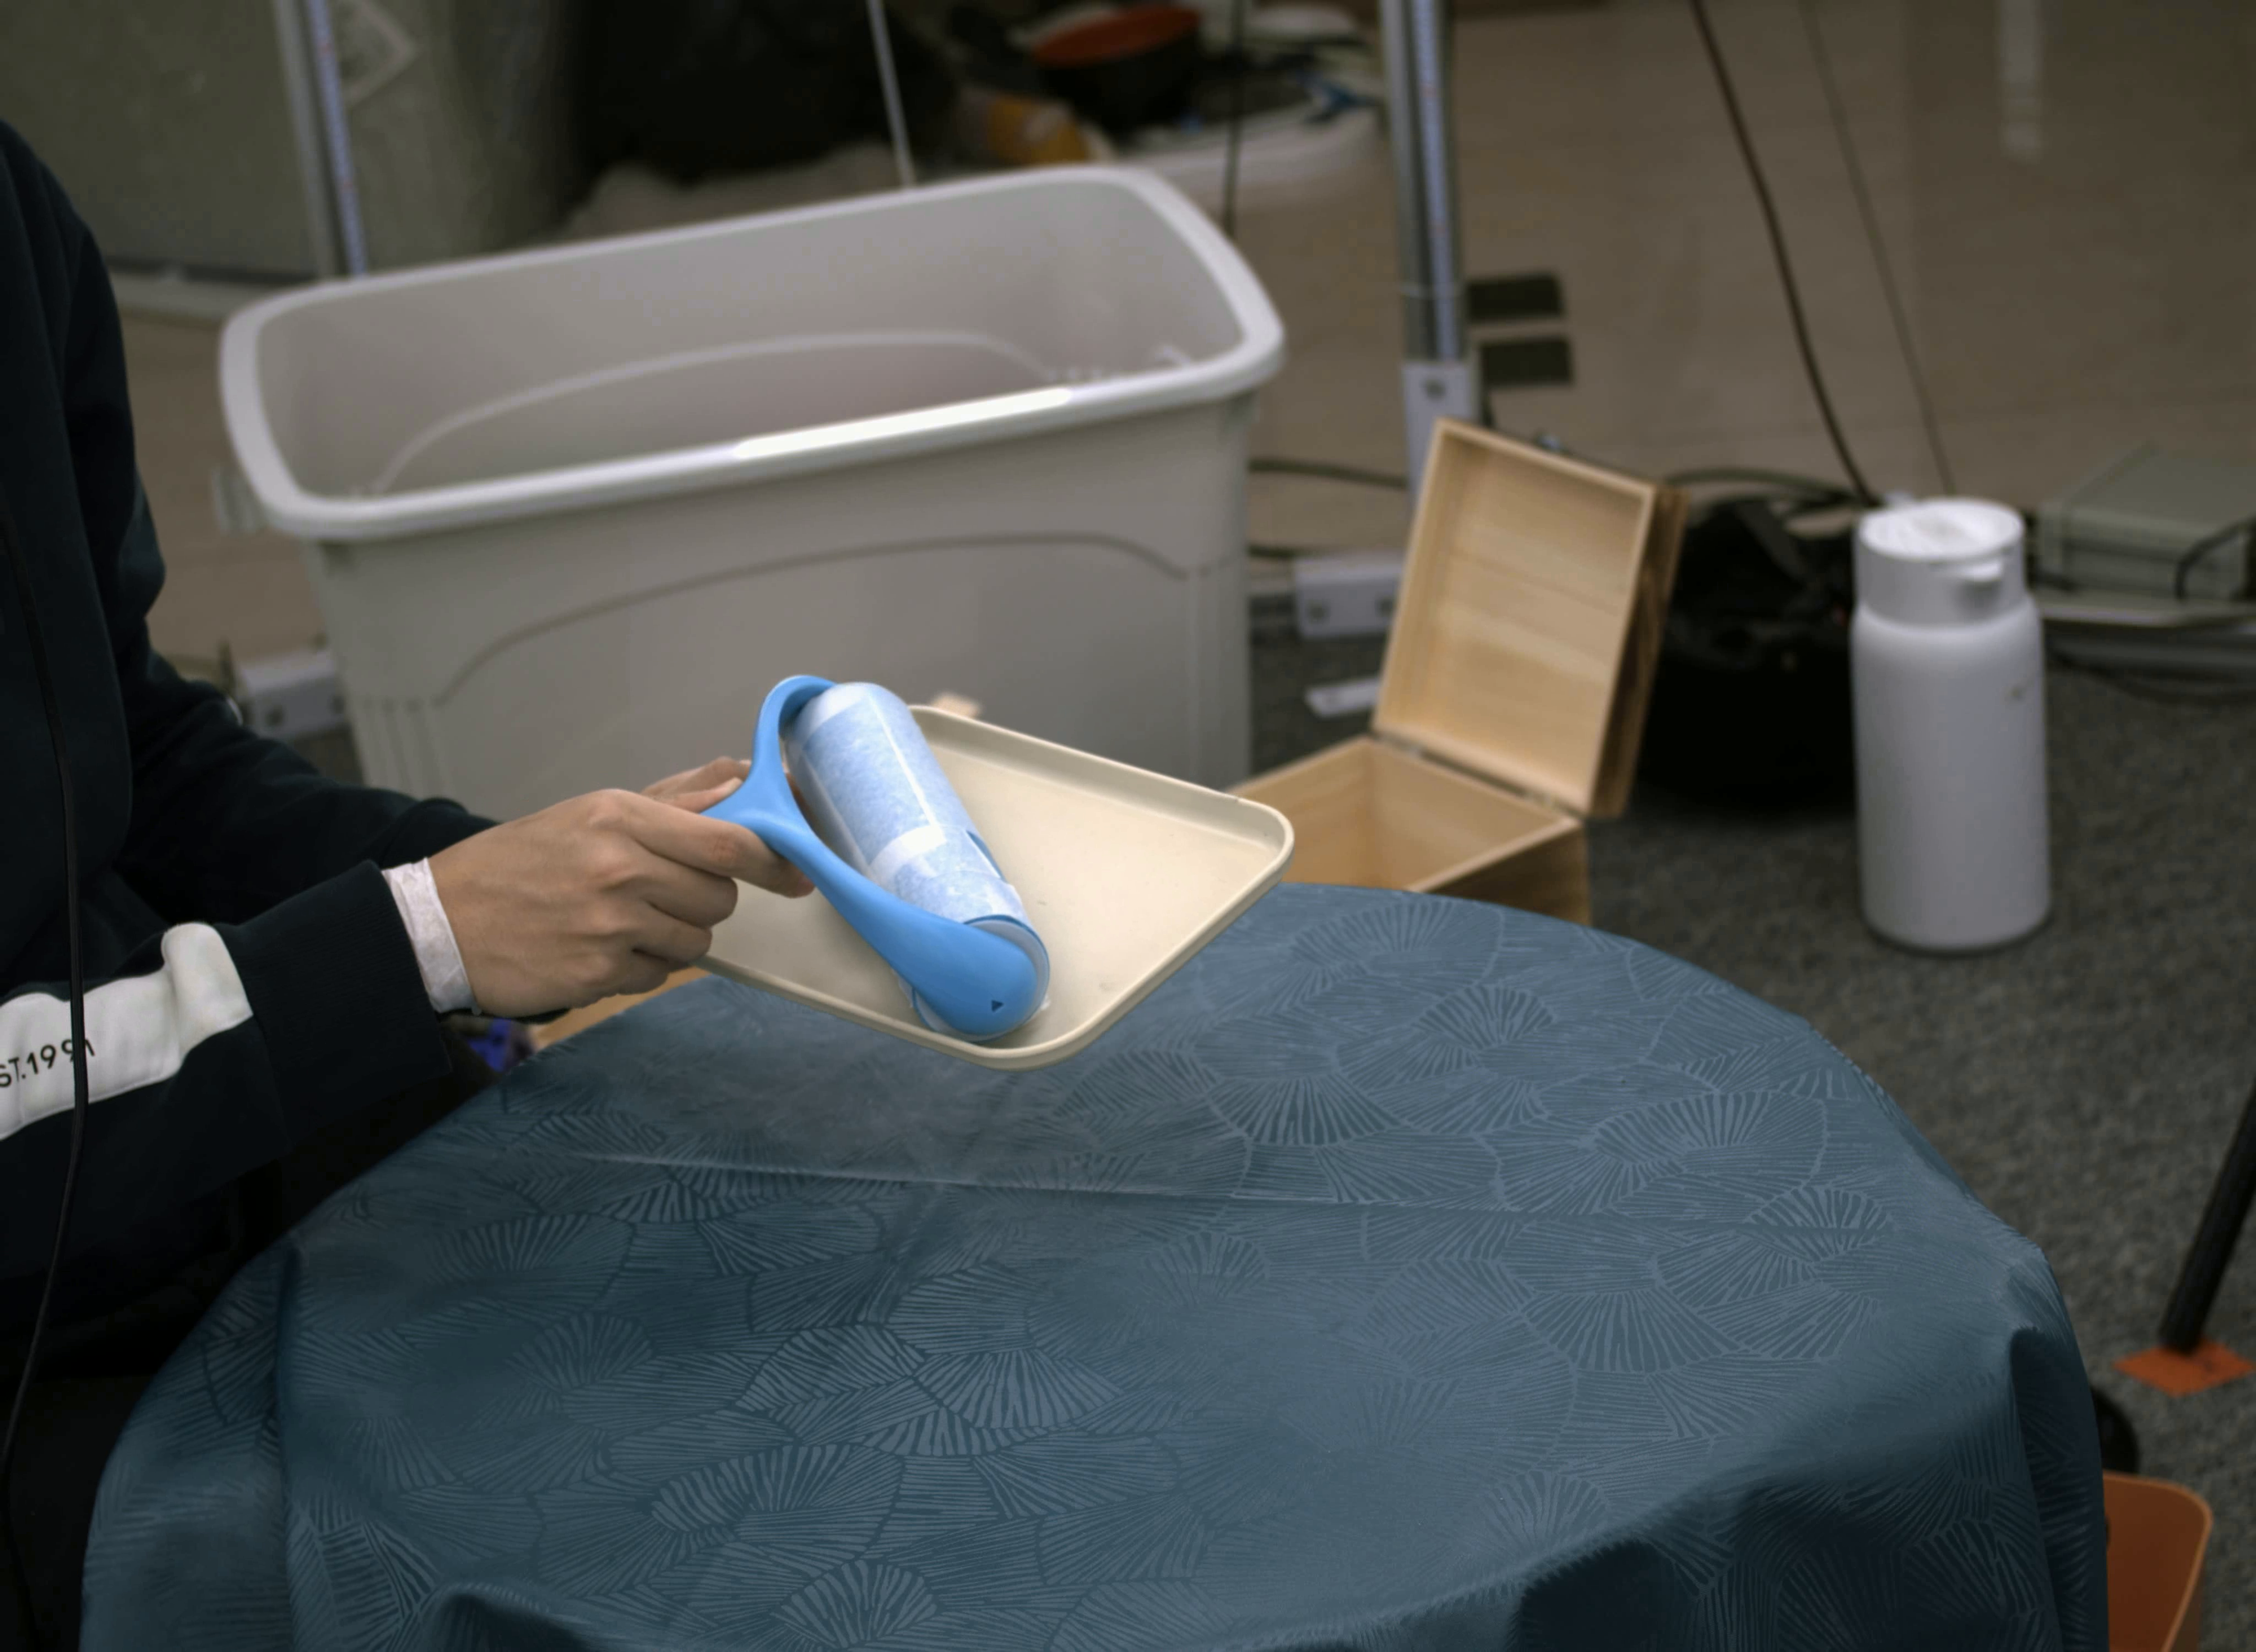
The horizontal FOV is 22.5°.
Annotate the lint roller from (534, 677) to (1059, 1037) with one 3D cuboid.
[{"bbox_3d":[-0.136,0.020,2.128,0.180,0.069,0.225,-10,32,-17],"label":"lint roller"}]

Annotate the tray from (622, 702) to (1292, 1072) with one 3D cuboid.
[{"bbox_3d":[-0.066,0.022,2.162,0.238,0.018,0.169,17,46,40],"label":"tray"}]
